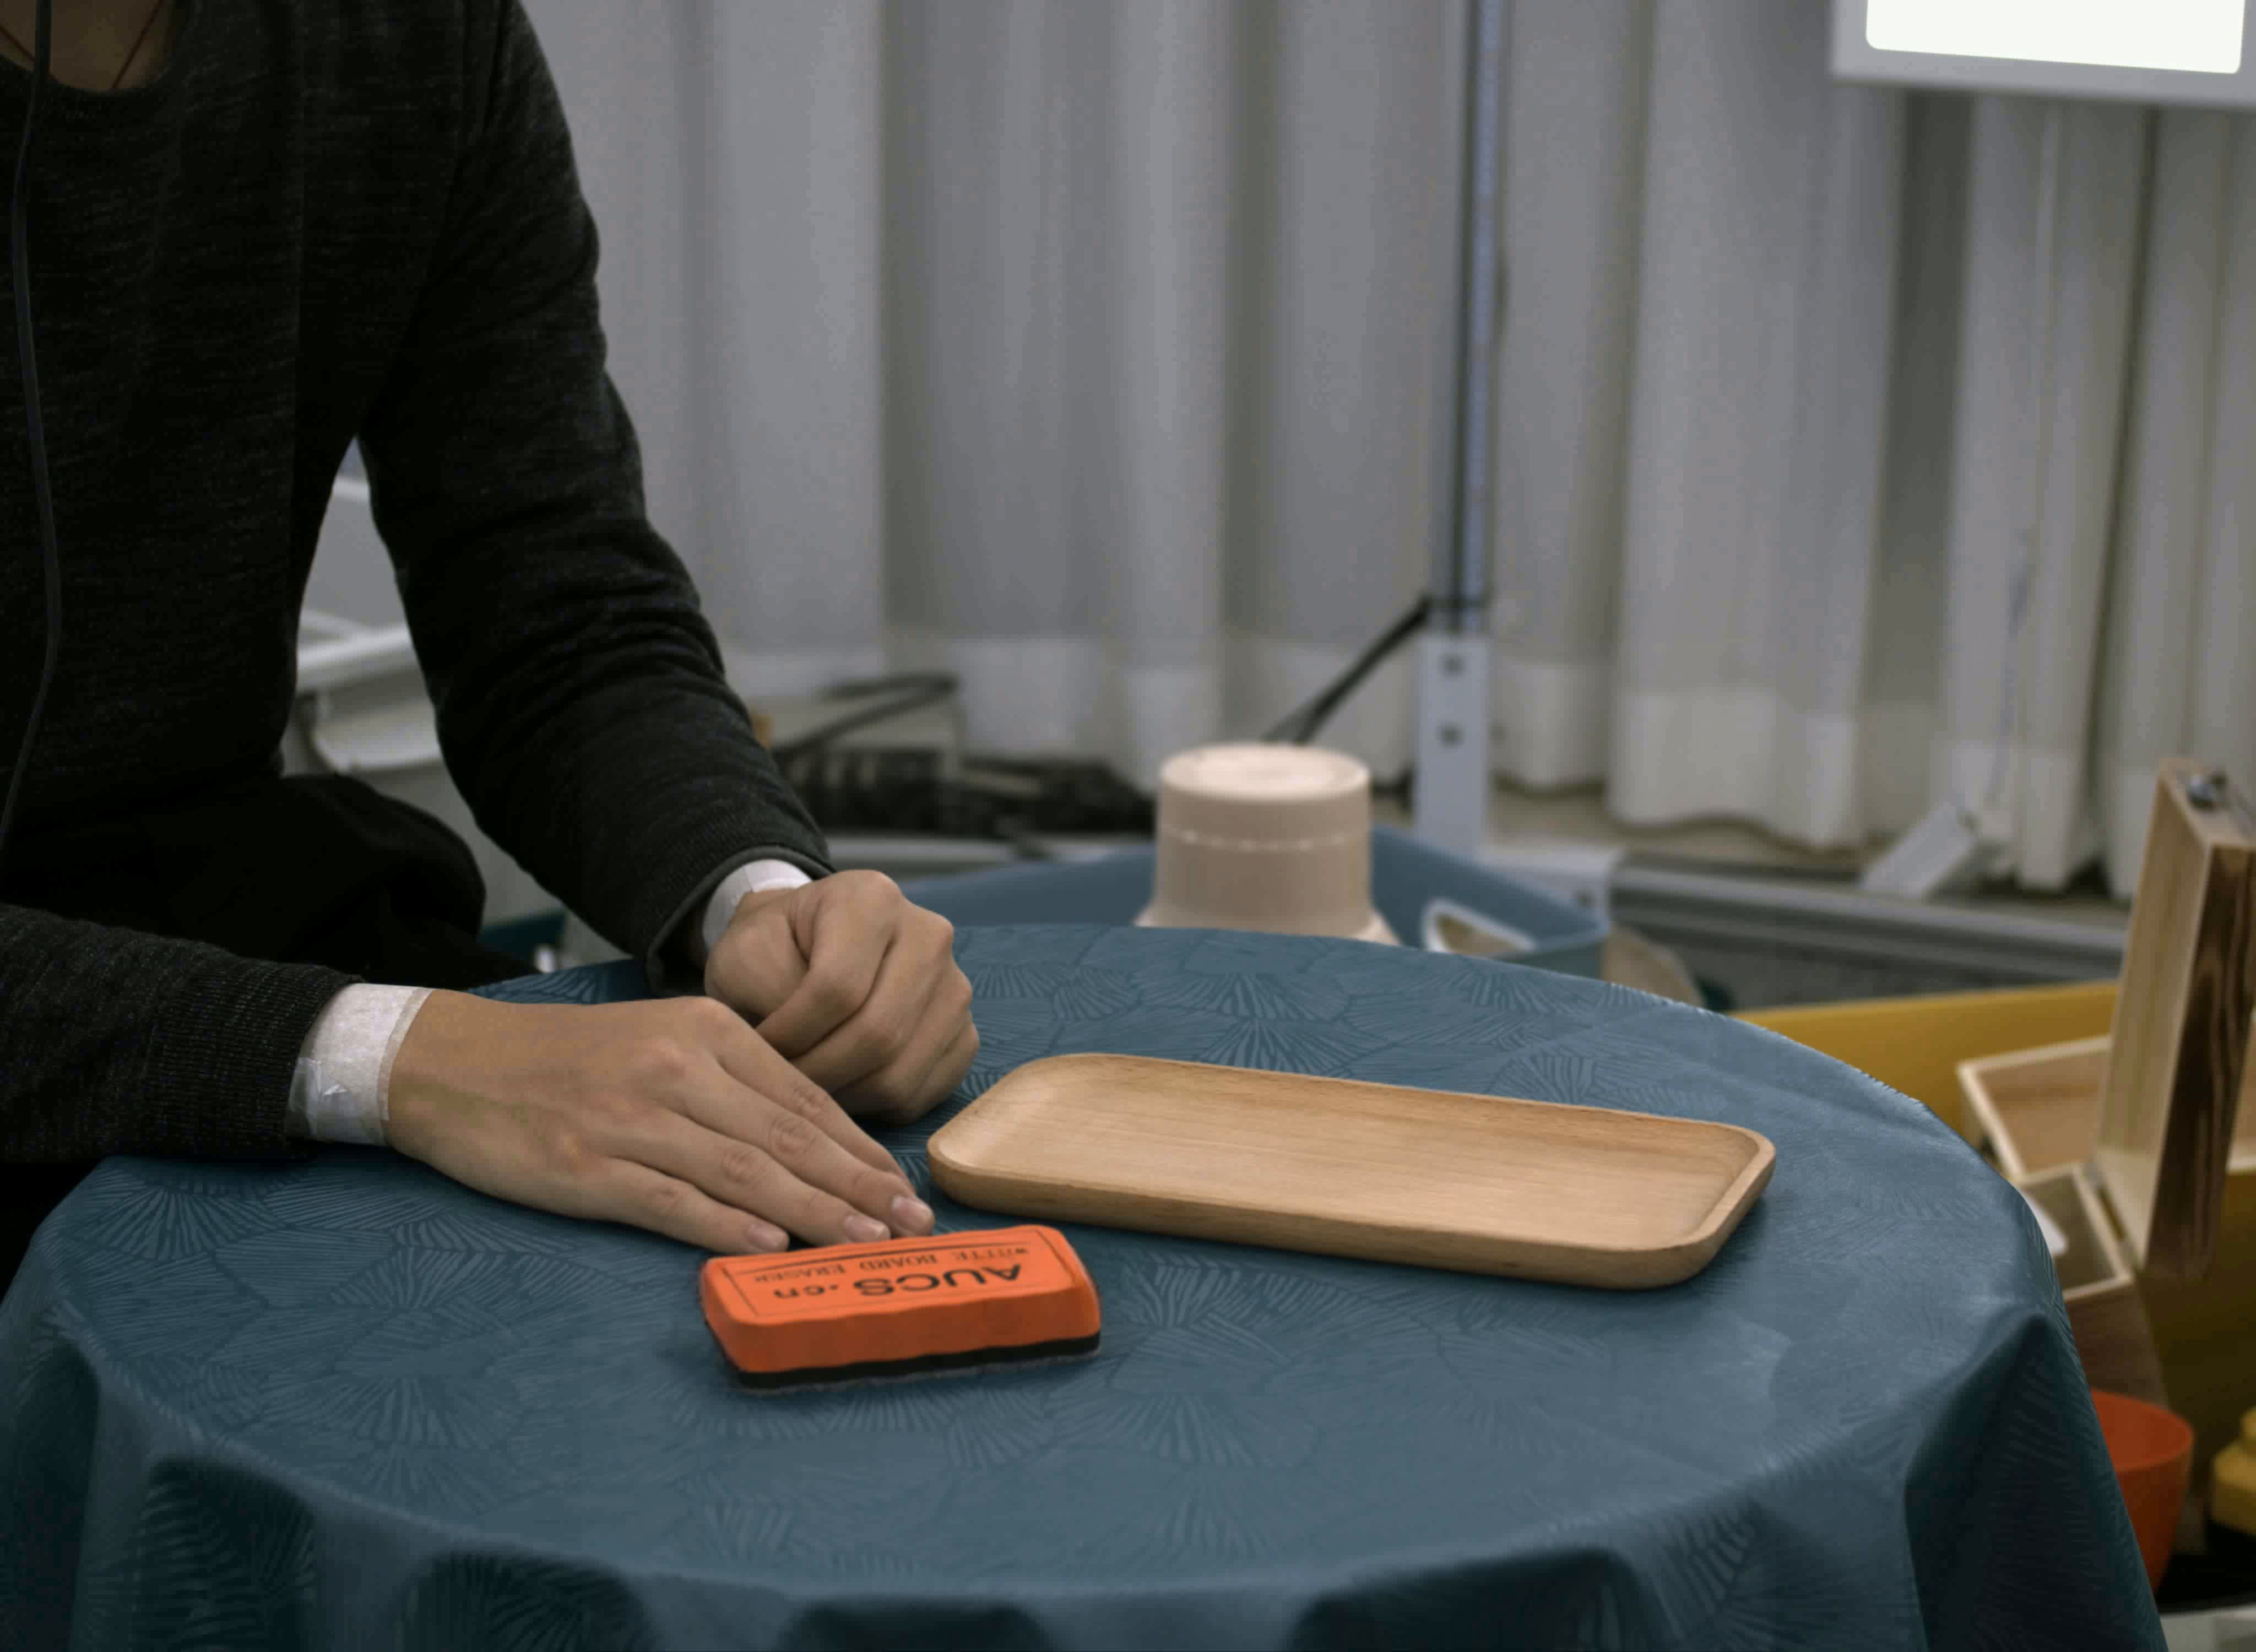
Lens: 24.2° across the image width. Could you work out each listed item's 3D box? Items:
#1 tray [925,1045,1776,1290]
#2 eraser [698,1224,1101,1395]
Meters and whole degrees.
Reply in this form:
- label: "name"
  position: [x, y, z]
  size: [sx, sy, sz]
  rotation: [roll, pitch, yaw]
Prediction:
- label: "tray"
  position: [0.068, 0.104, 1.620]
  size: [0.248, 0.023, 0.131]
  rotation: [6, 14, 20]
- label: "eraser"
  position: [-0.065, 0.136, 1.488]
  size: [0.108, 0.023, 0.058]
  rotation: [-4, 17, -17]
